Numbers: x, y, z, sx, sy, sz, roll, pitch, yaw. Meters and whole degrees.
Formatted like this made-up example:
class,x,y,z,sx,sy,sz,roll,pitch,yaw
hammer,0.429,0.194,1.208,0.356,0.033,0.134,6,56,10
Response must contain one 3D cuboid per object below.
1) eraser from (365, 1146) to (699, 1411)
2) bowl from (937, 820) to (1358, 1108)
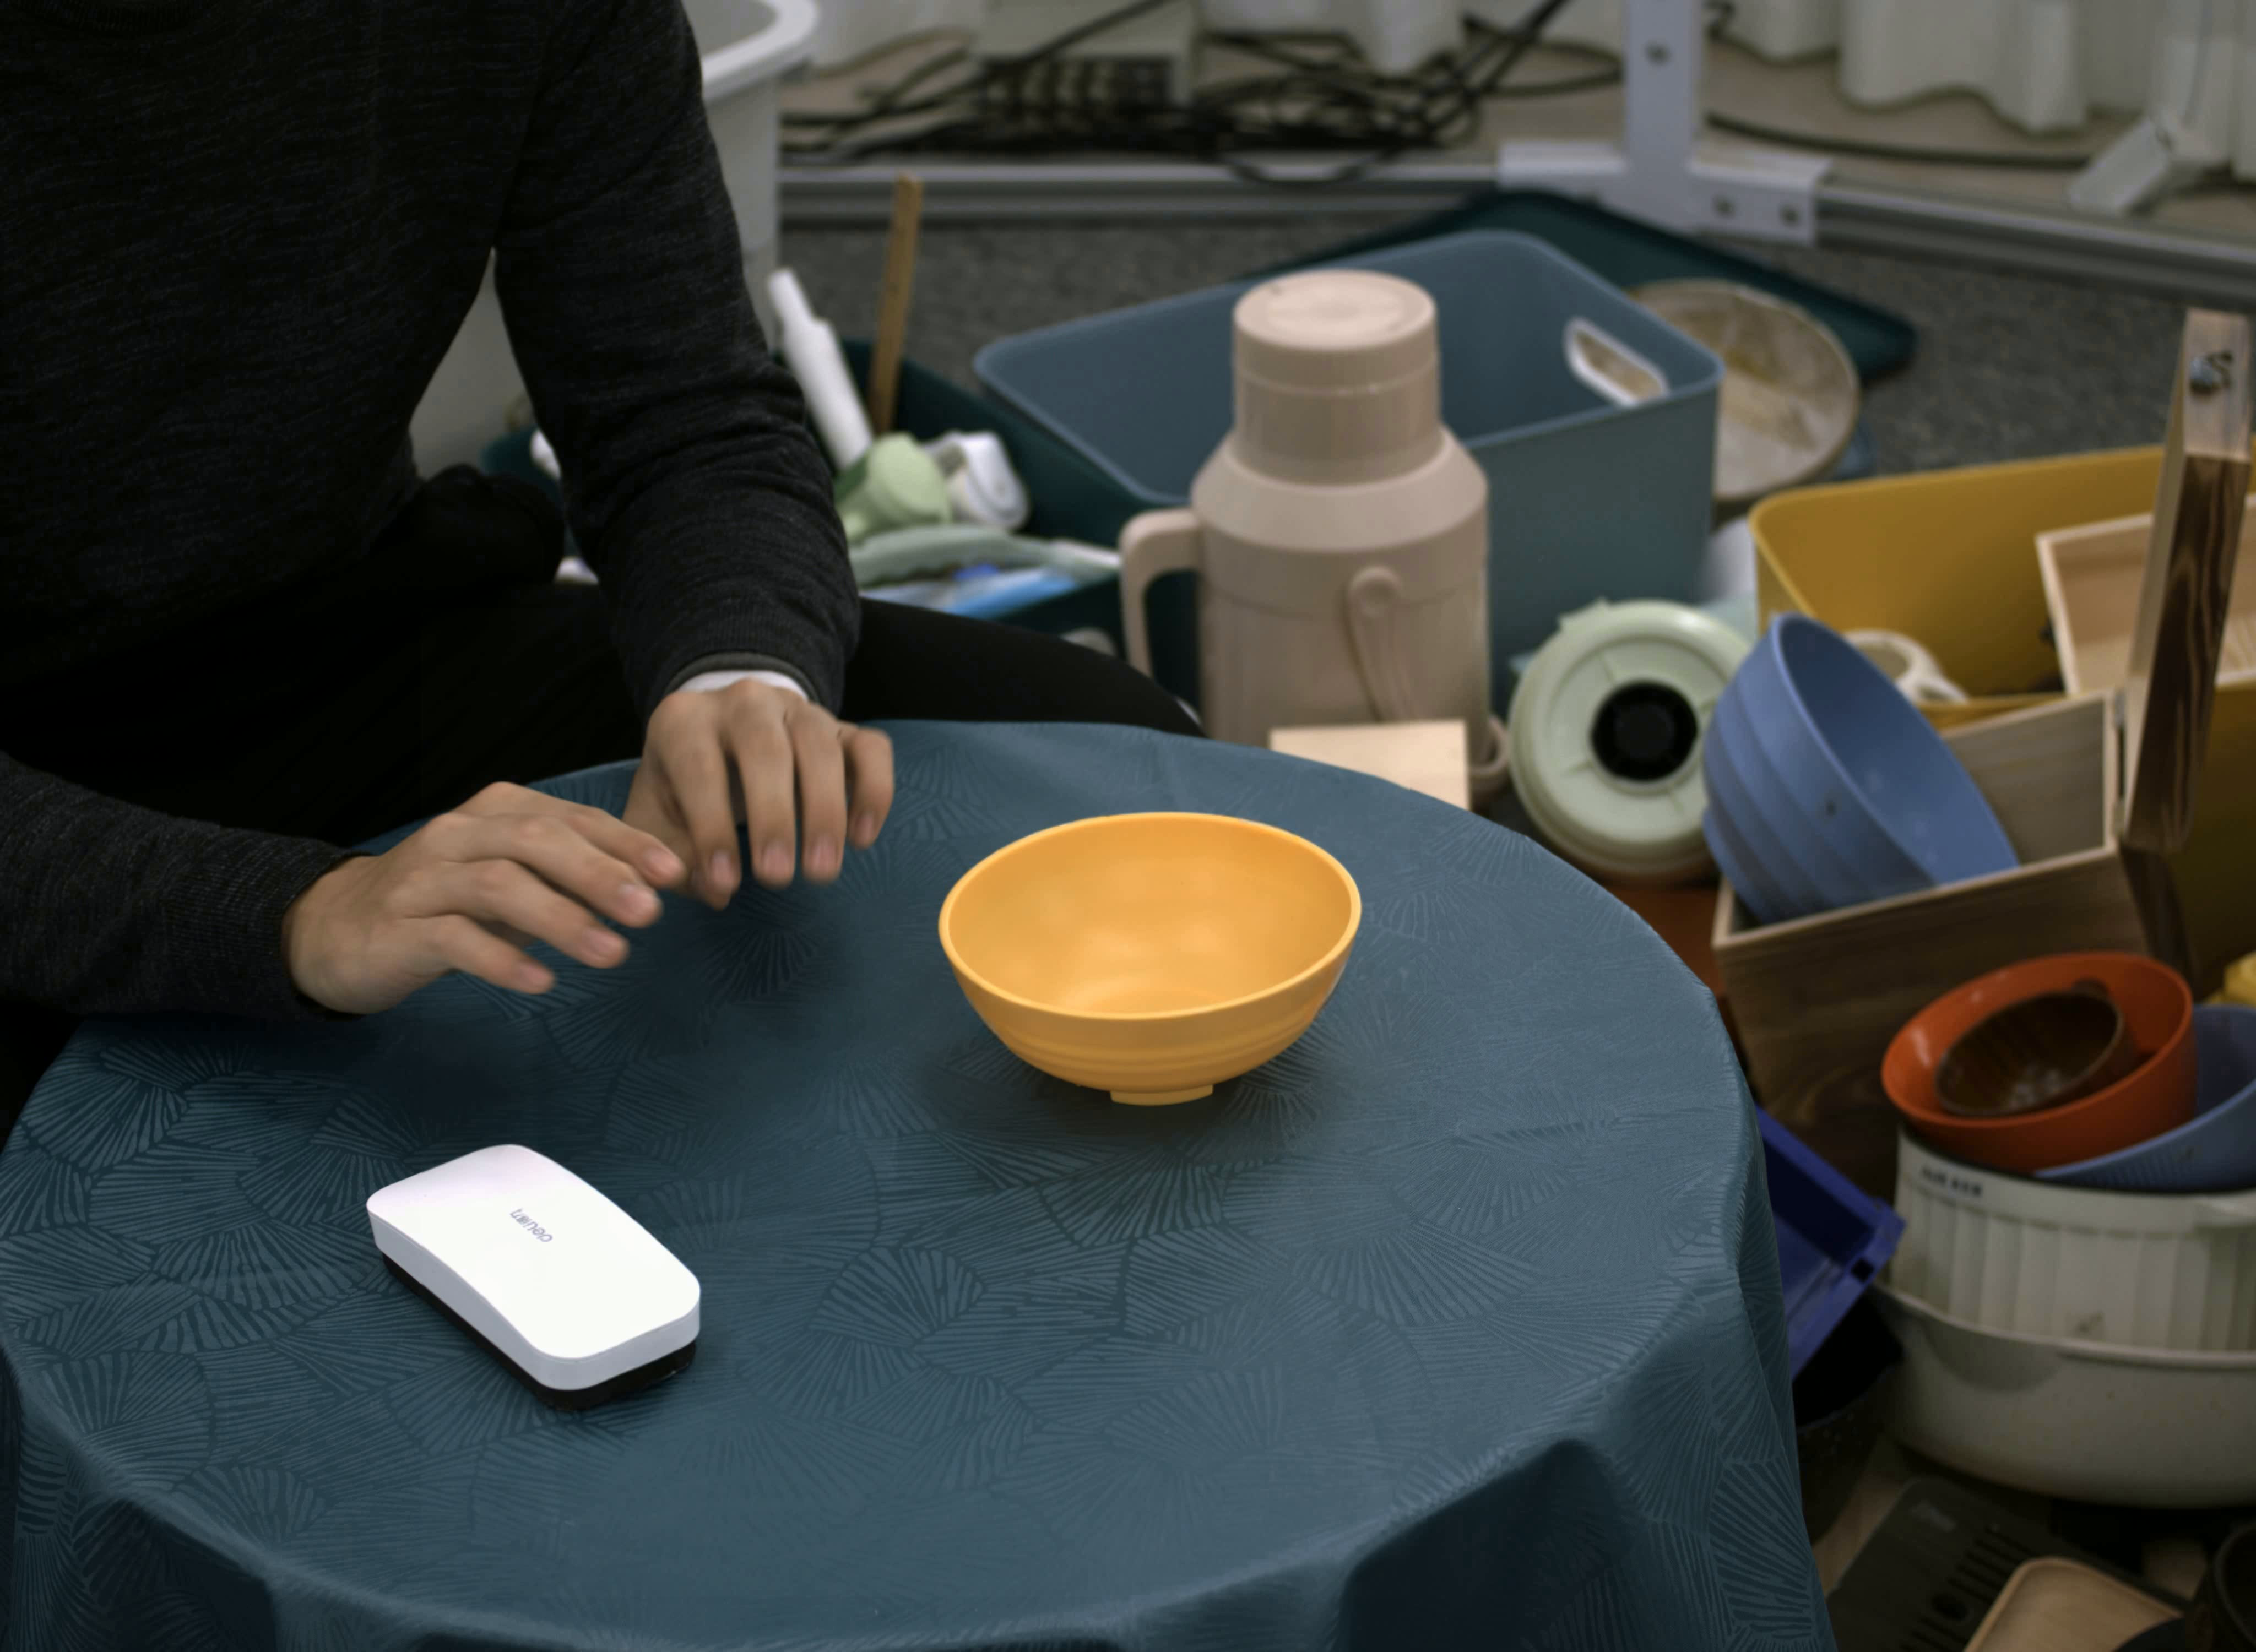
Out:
class,x,y,z,sx,sy,sz,roll,pitch,yaw
eraser,-0.191,0.142,1.807,0.064,0.034,0.131,-19,32,-30
bowl,0.007,0.055,1.926,0.144,0.059,0.147,-2,26,1
